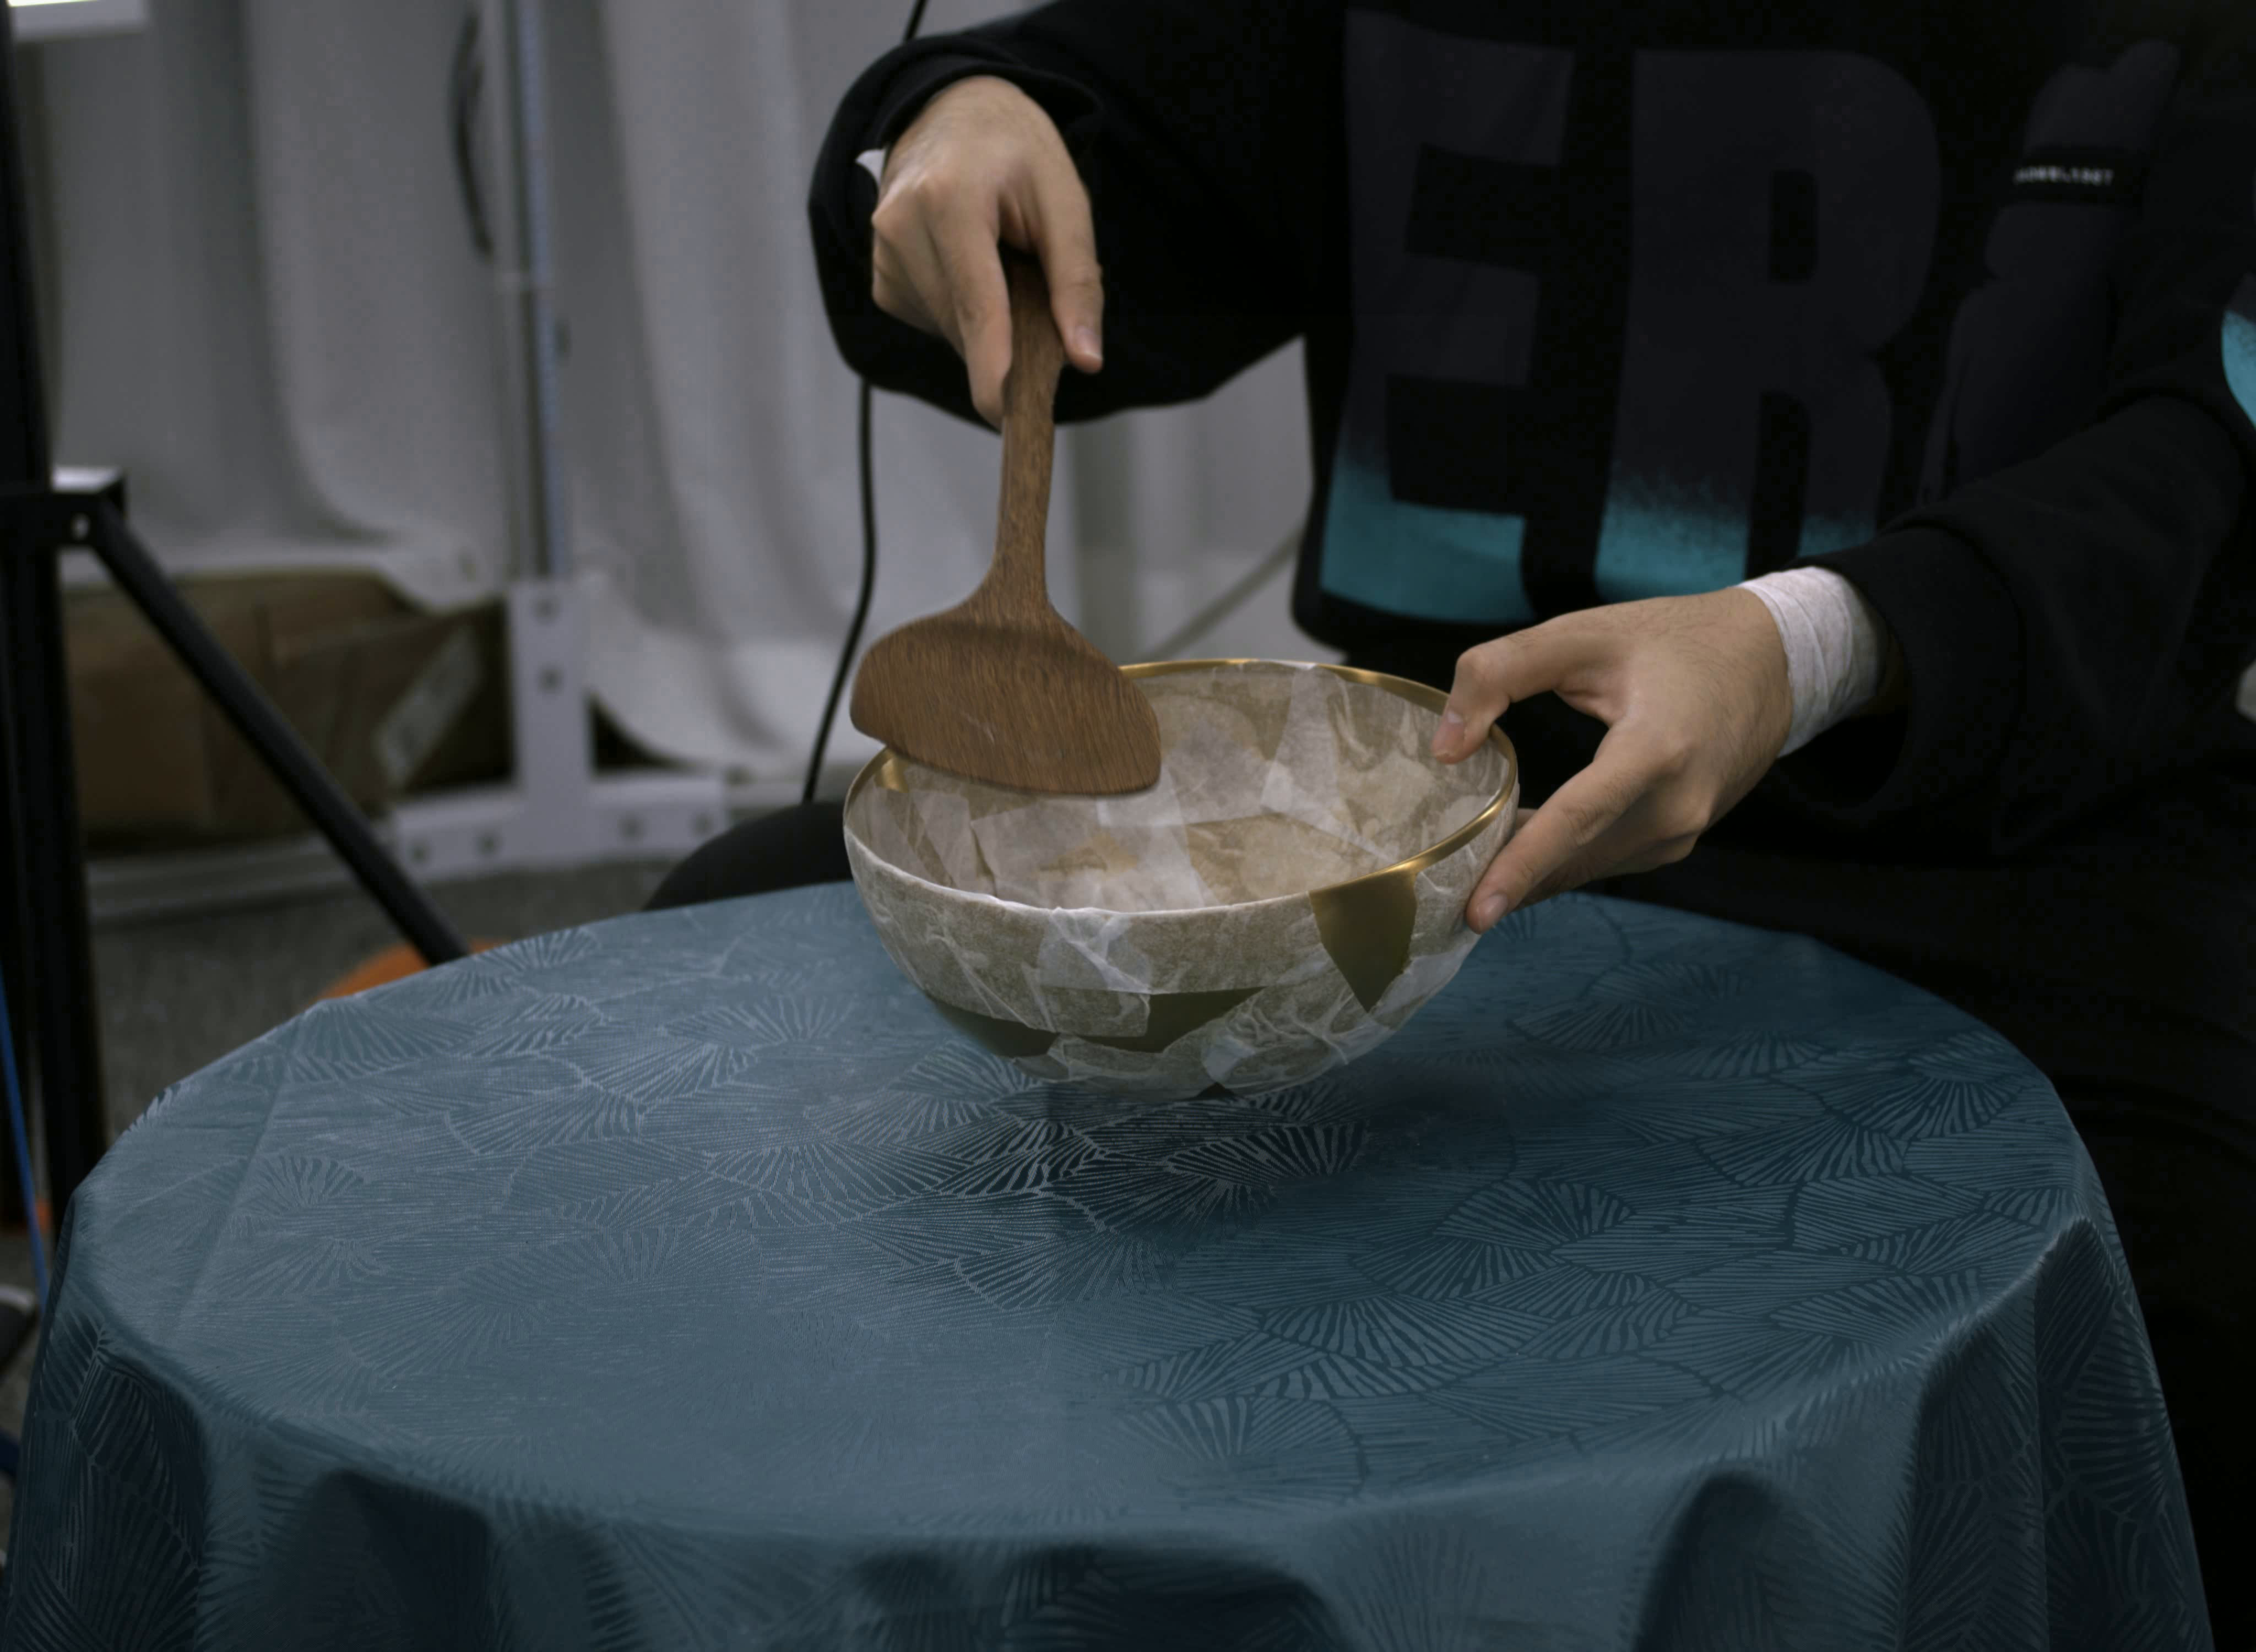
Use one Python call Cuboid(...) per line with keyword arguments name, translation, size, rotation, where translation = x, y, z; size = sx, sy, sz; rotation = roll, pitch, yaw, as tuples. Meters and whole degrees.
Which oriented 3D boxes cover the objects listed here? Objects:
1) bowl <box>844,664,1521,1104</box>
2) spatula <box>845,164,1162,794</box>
Cuboid(name="bowl", translation=(0.022, 0.027, 1.593), size=(0.214, 0.094, 0.216), rotation=(-5, 20, 0))
Cuboid(name="spatula", translation=(-0.033, -0.121, 1.702), size=(0.095, 0.016, 0.389), rotation=(10, 34, -5))
